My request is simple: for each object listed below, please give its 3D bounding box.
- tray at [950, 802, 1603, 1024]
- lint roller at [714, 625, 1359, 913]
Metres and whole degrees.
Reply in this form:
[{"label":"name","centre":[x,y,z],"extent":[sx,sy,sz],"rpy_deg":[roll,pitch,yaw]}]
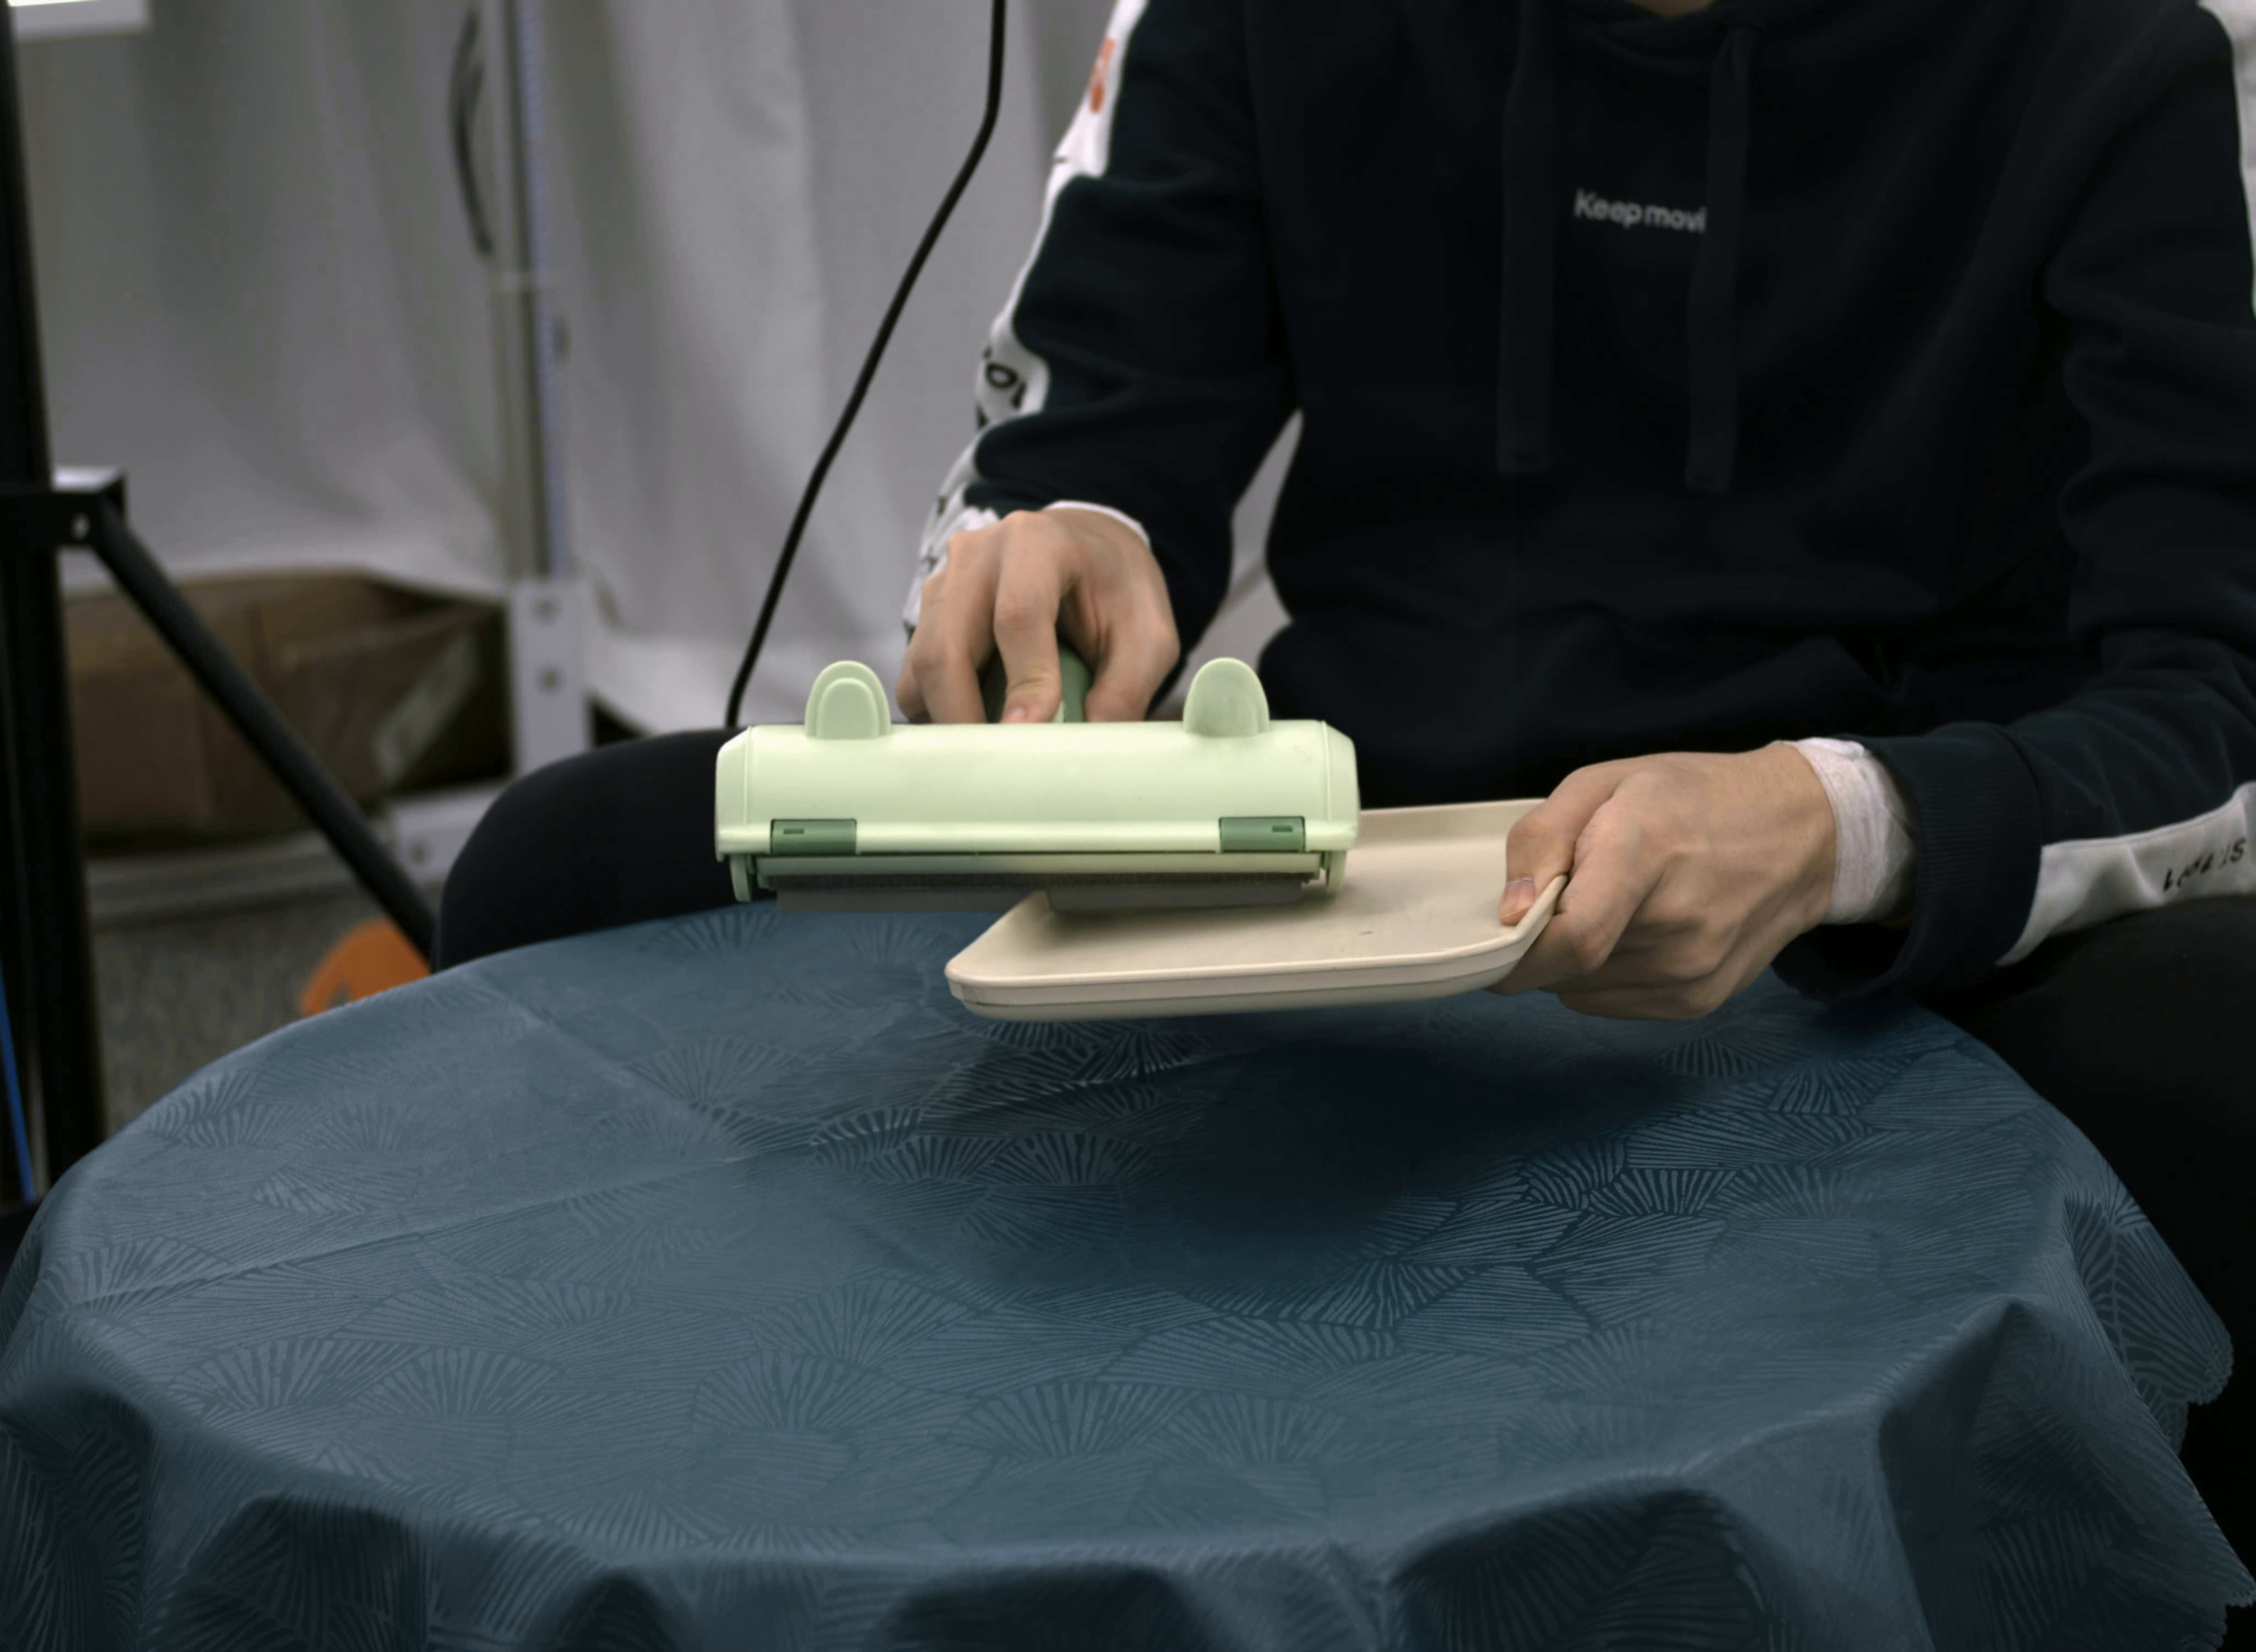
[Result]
[{"label":"tray","centre":[0.050,0.026,1.597],"extent":[0.172,0.017,0.238],"rpy_deg":[-3,10,14]},{"label":"lint roller","centre":[-0.029,-0.038,1.679],"extent":[0.198,0.082,0.185],"rpy_deg":[-1,31,1]}]
